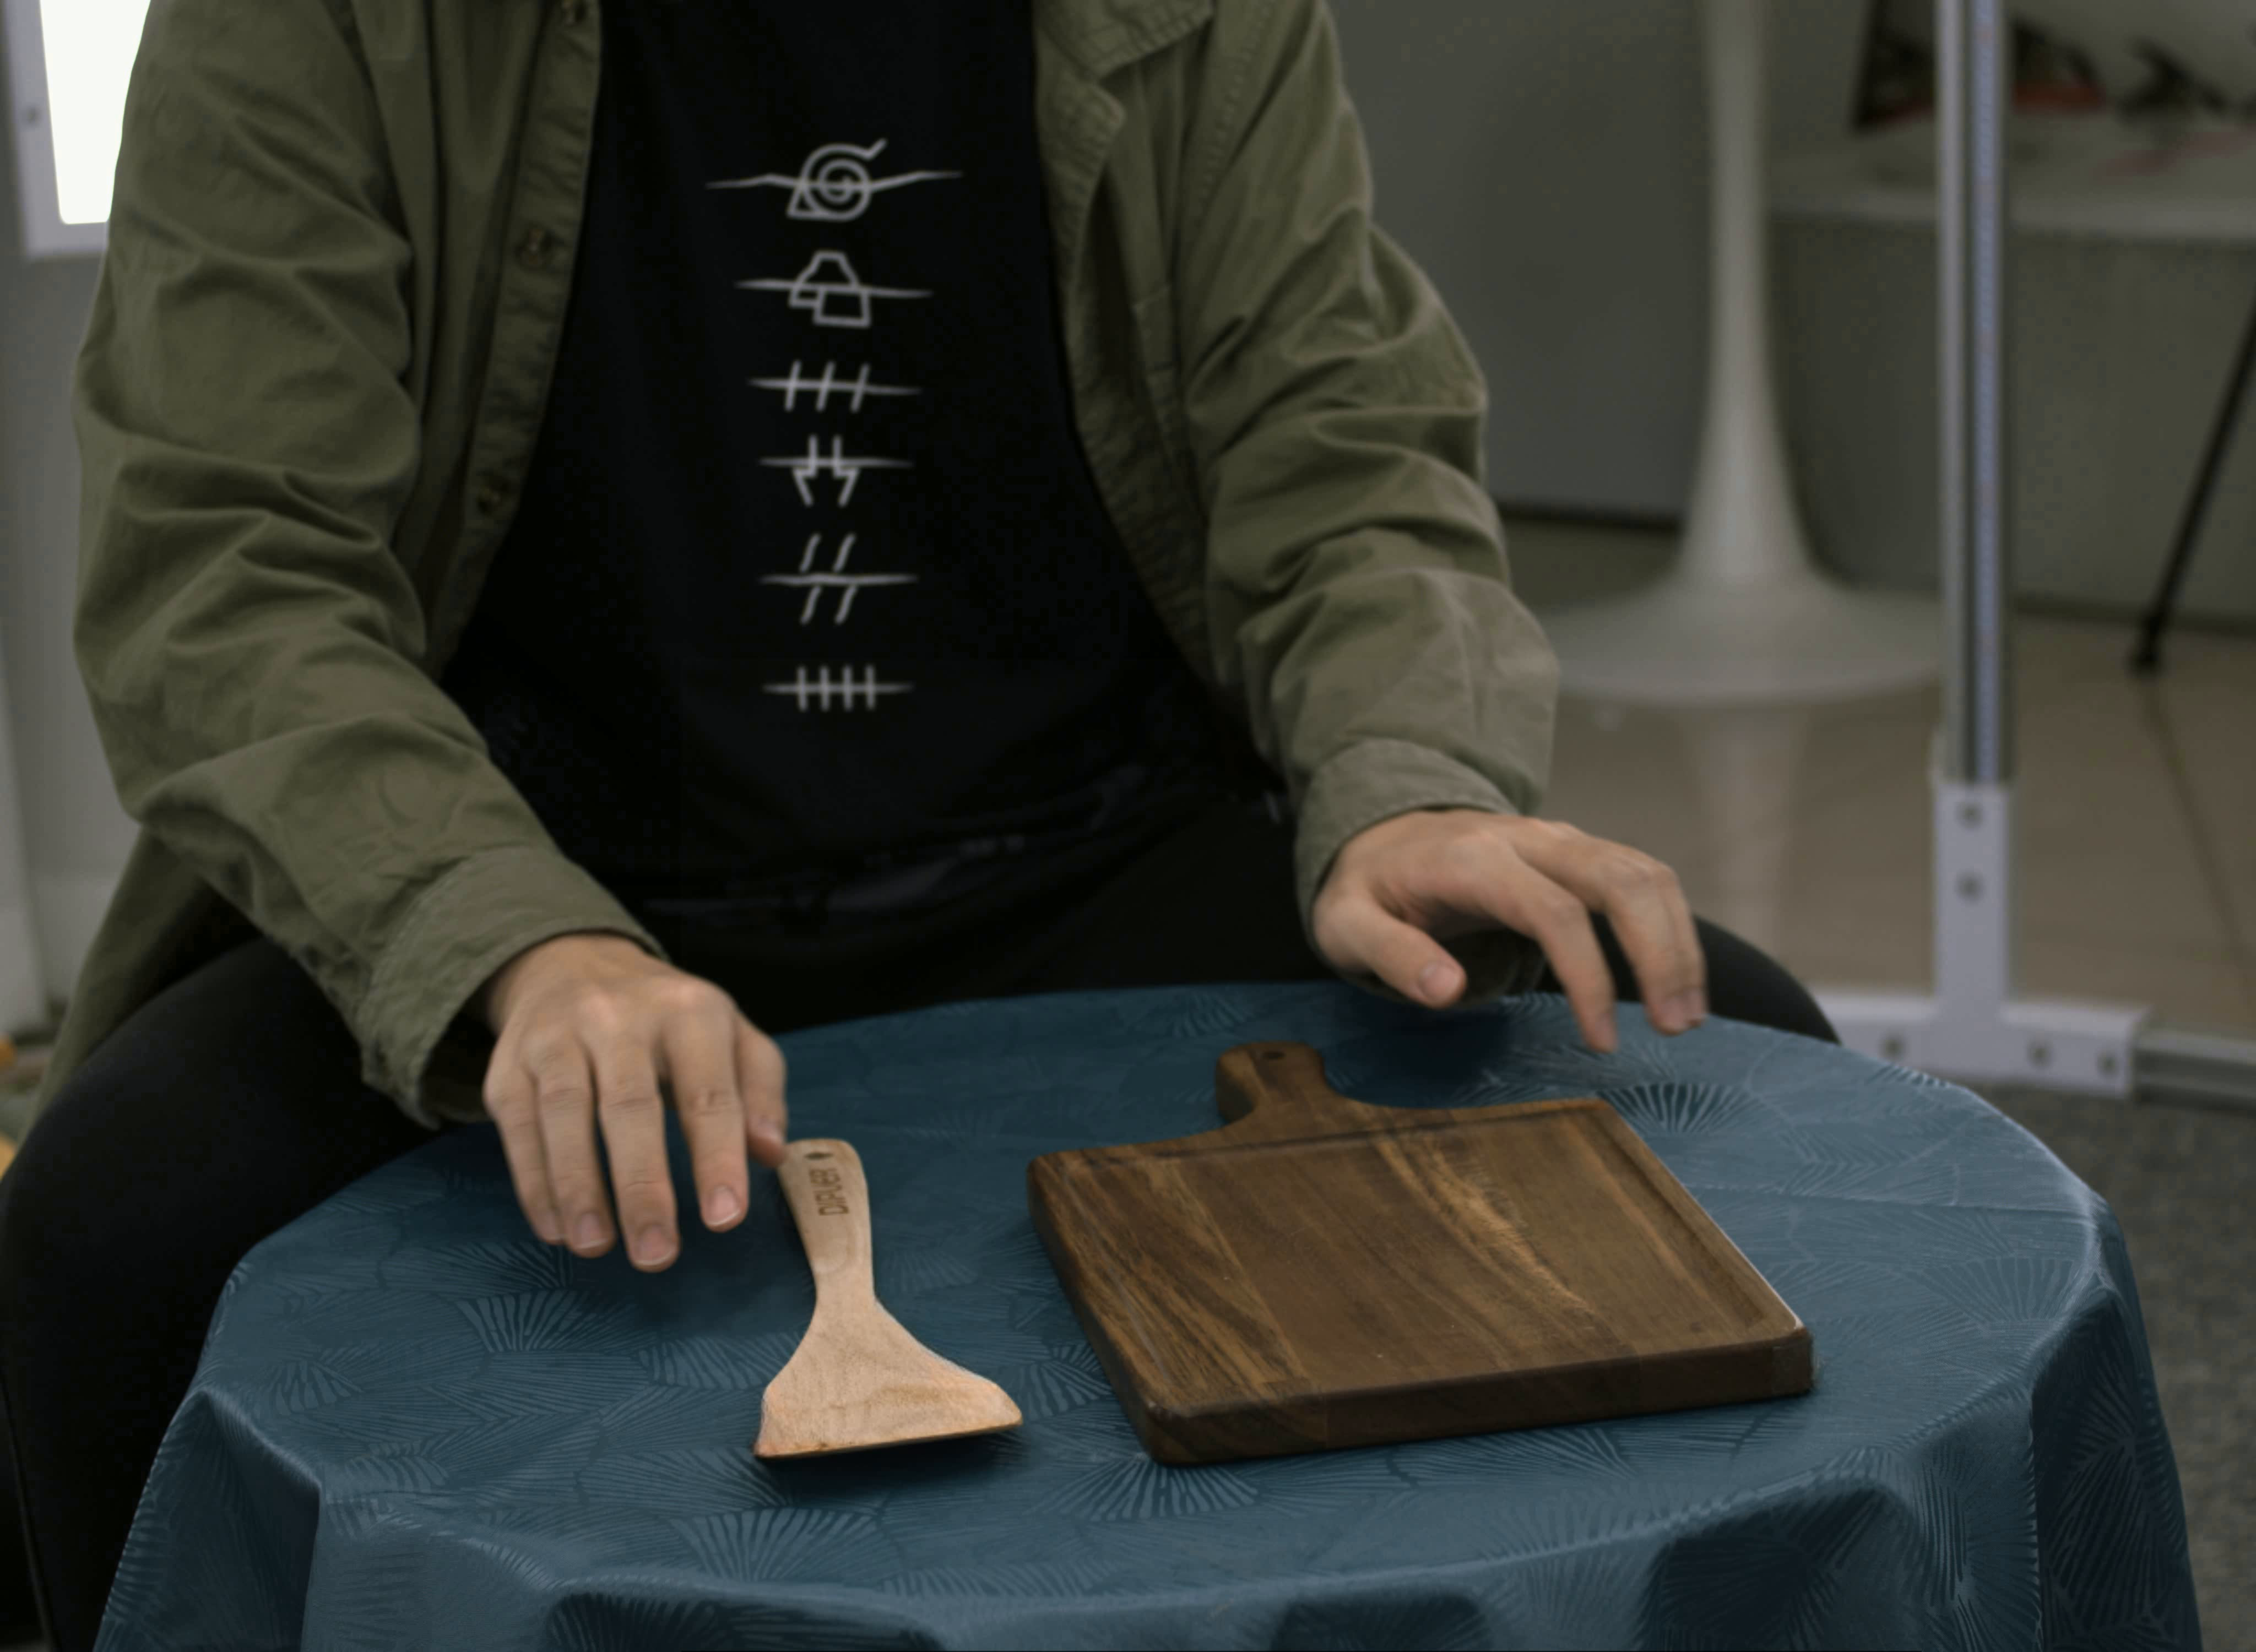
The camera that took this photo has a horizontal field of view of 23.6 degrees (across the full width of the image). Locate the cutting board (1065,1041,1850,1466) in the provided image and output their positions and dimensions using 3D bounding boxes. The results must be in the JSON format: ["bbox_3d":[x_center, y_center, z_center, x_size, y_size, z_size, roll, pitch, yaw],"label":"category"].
[{"bbox_3d":[0.087,0.123,1.690,0.198,0.023,0.354,-5,14,-7],"label":"cutting board"}]

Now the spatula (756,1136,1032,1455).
[{"bbox_3d":[-0.085,0.141,1.677,0.078,0.017,0.329,-5,14,-7],"label":"spatula"}]
